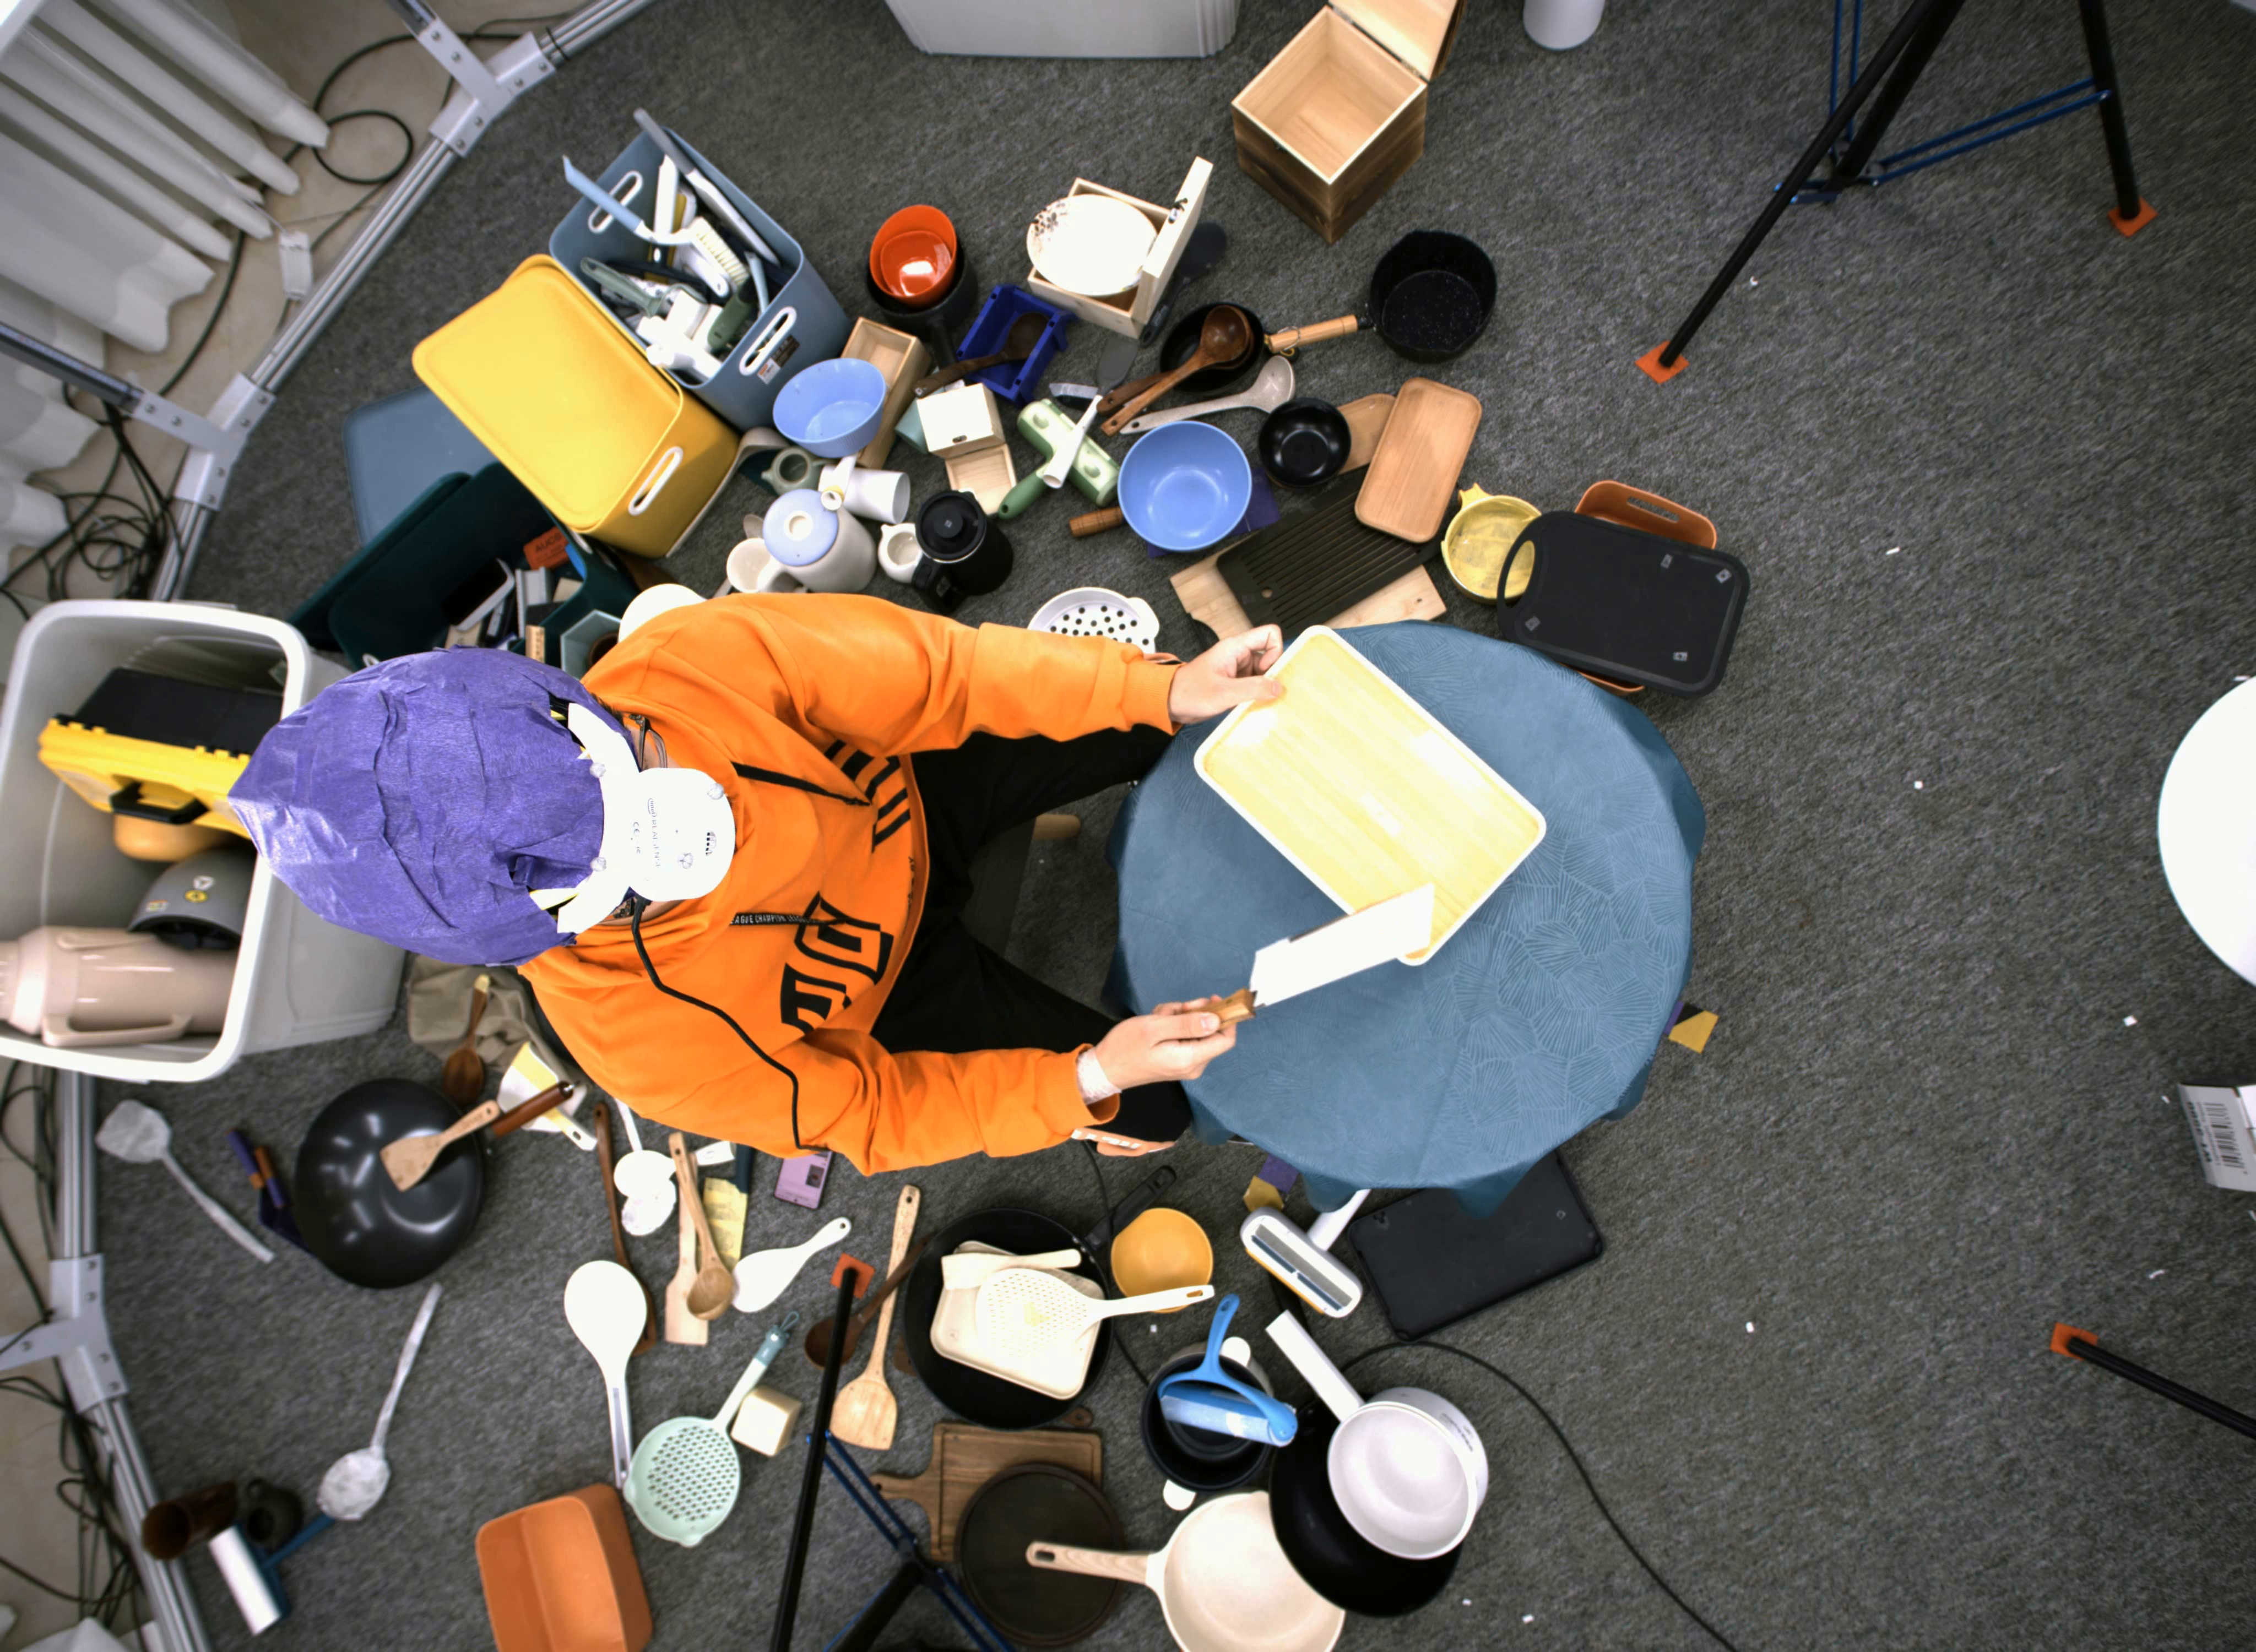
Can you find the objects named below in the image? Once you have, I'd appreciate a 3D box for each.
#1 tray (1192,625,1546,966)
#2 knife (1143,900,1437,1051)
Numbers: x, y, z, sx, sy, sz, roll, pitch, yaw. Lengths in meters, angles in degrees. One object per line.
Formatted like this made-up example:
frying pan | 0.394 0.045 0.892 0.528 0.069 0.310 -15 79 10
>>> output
tray | 0.227 -0.032 1.319 0.299 0.027 0.193 44 99 10
knife | 0.146 0.134 1.279 0.310 0.090 0.021 -25 115 30
